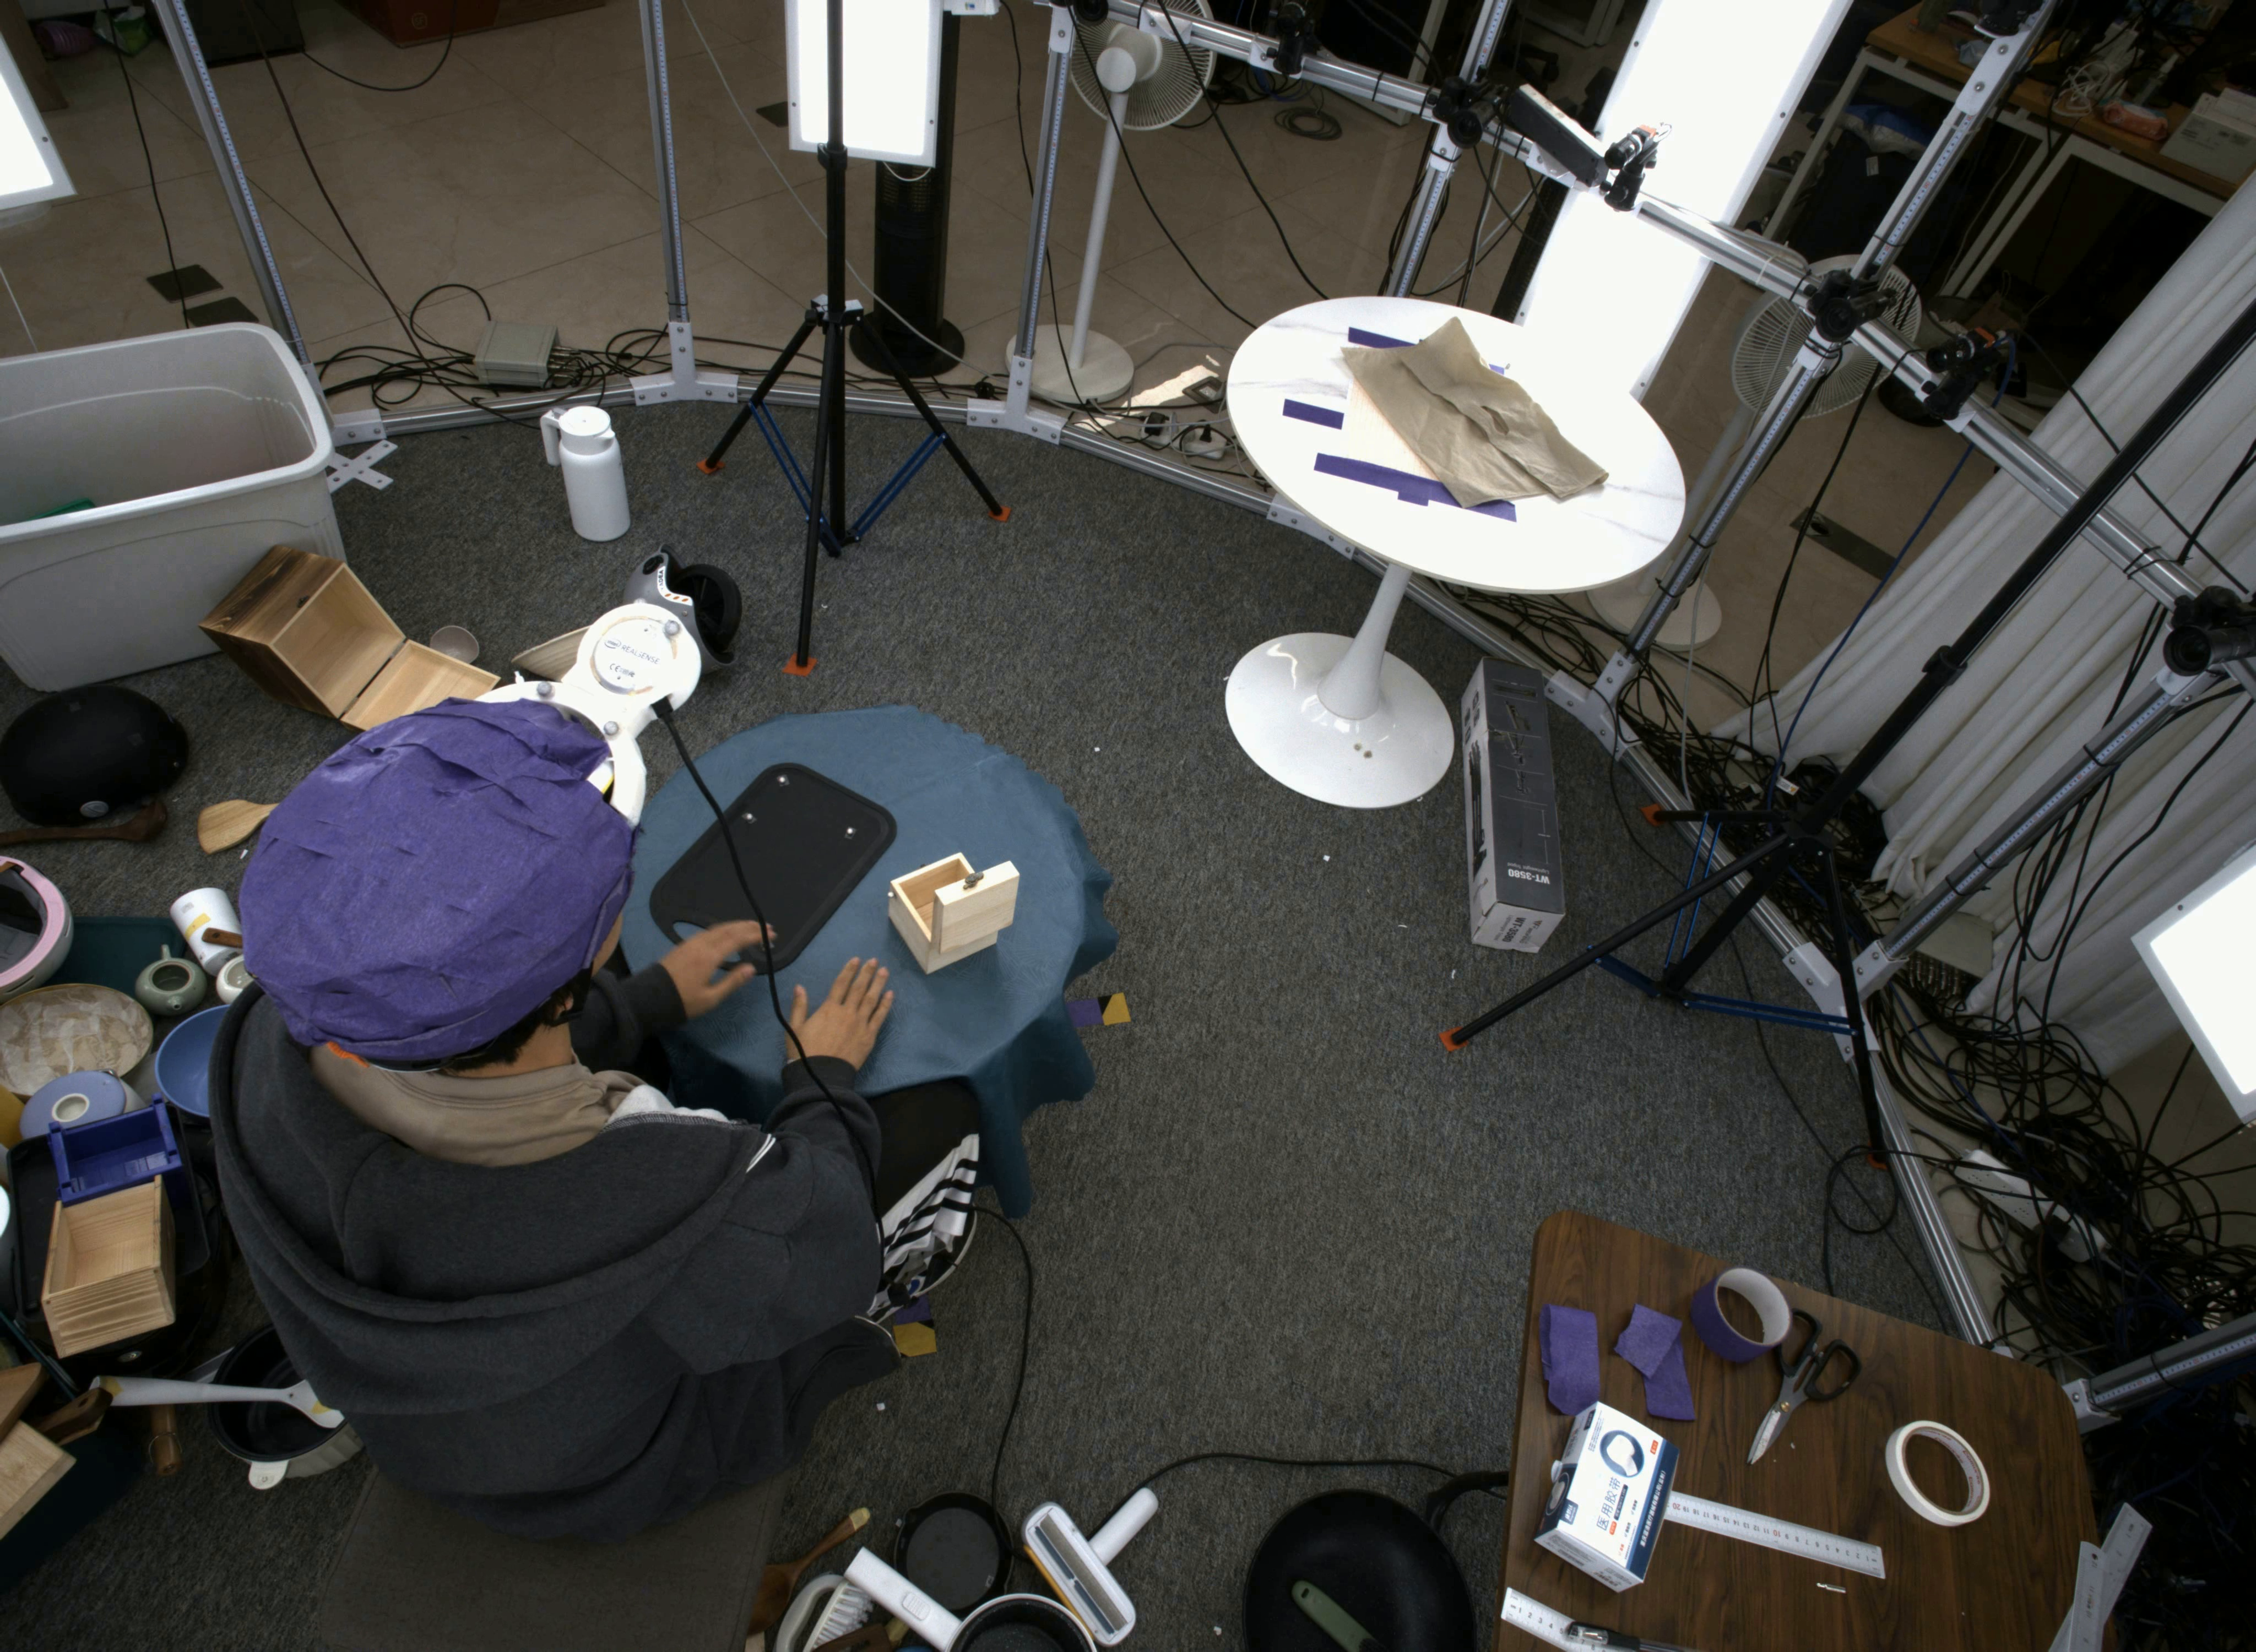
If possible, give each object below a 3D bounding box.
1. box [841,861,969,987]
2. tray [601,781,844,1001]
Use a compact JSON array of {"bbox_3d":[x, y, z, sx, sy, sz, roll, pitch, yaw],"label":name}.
[{"bbox_3d":[-0.274,0.094,1.577,0.103,0.188,0.131,-28,64,-30],"label":"box"},{"bbox_3d":[-0.518,0.077,1.643,0.208,0.010,0.323,26,52,5],"label":"tray"}]
